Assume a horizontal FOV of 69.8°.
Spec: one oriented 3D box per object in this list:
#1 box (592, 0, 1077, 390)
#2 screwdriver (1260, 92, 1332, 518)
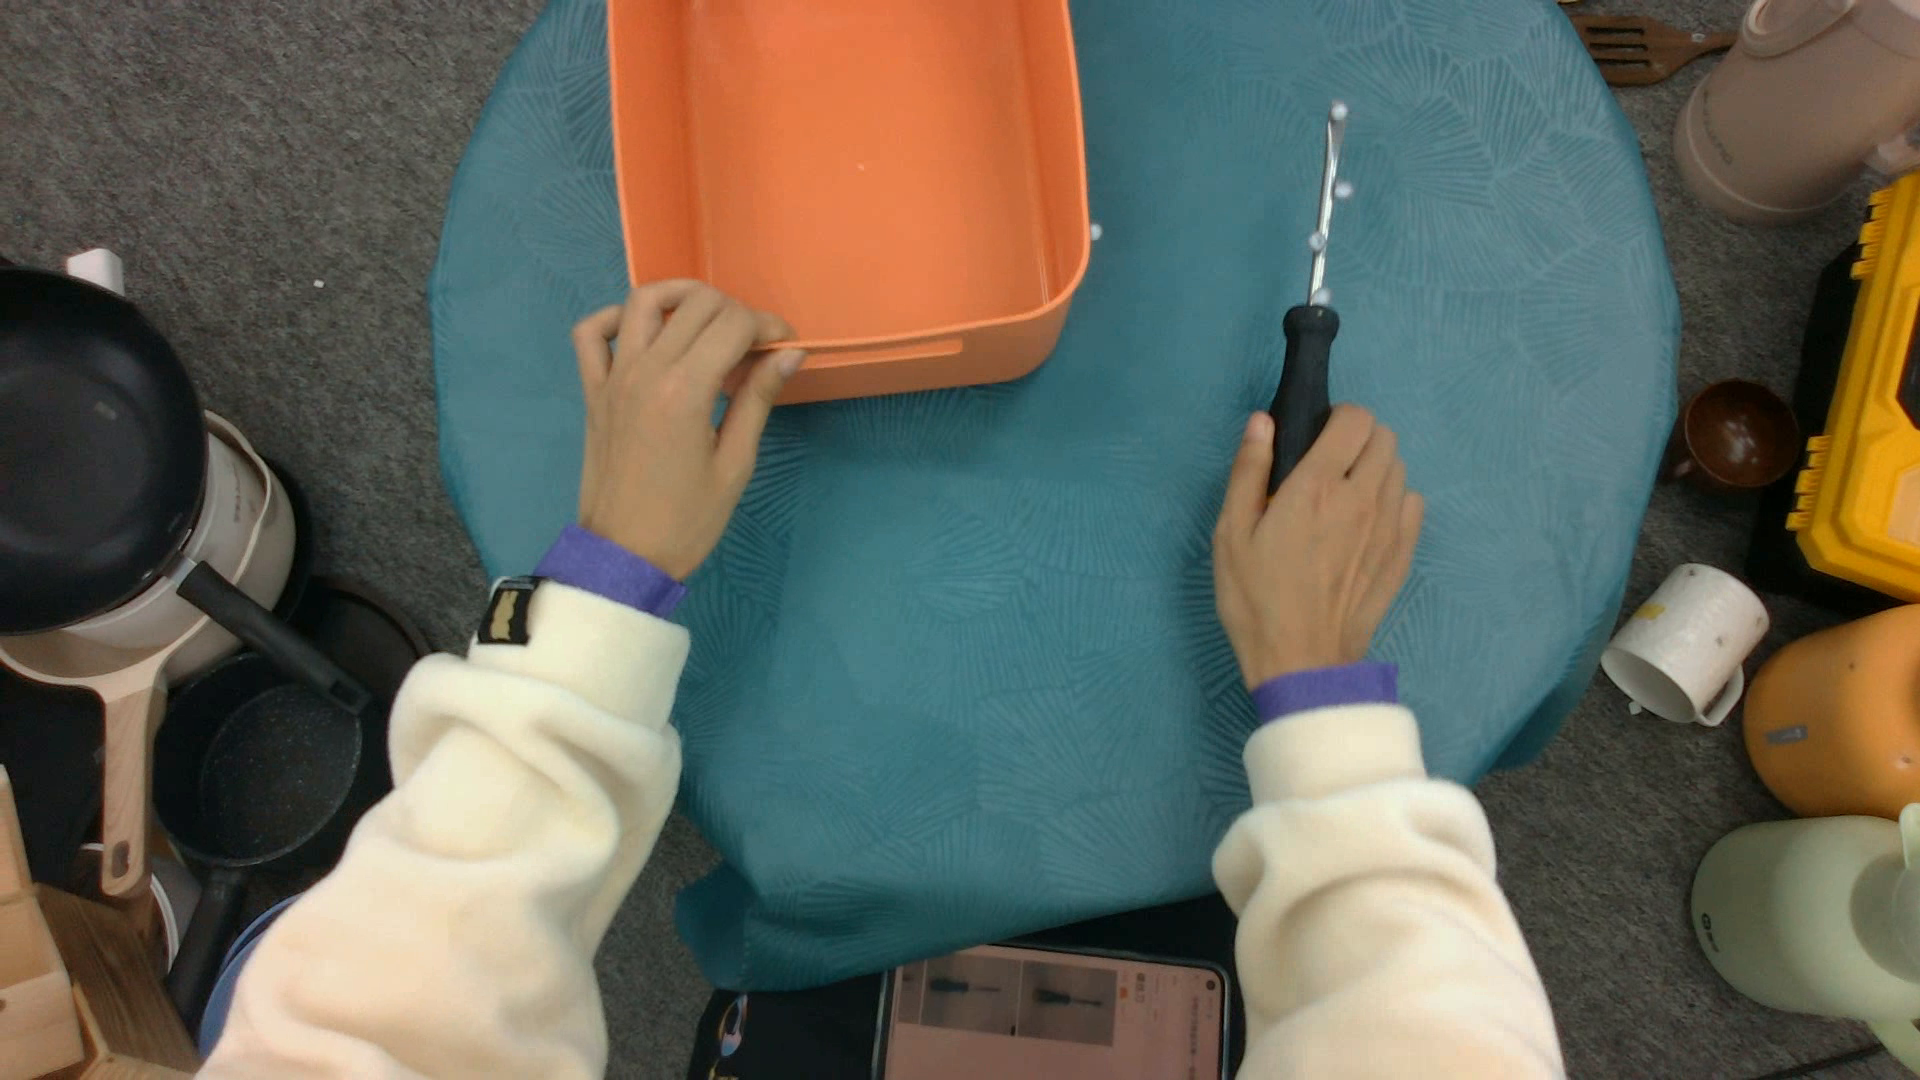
[{"bbox_3d":[-0.058,-0.204,0.637,0.199,0.102,0.274,-6,75,-1],"label":"box"},{"bbox_3d":[0.146,-0.106,0.602,0.031,0.031,0.198,2,77,2],"label":"screwdriver"}]
